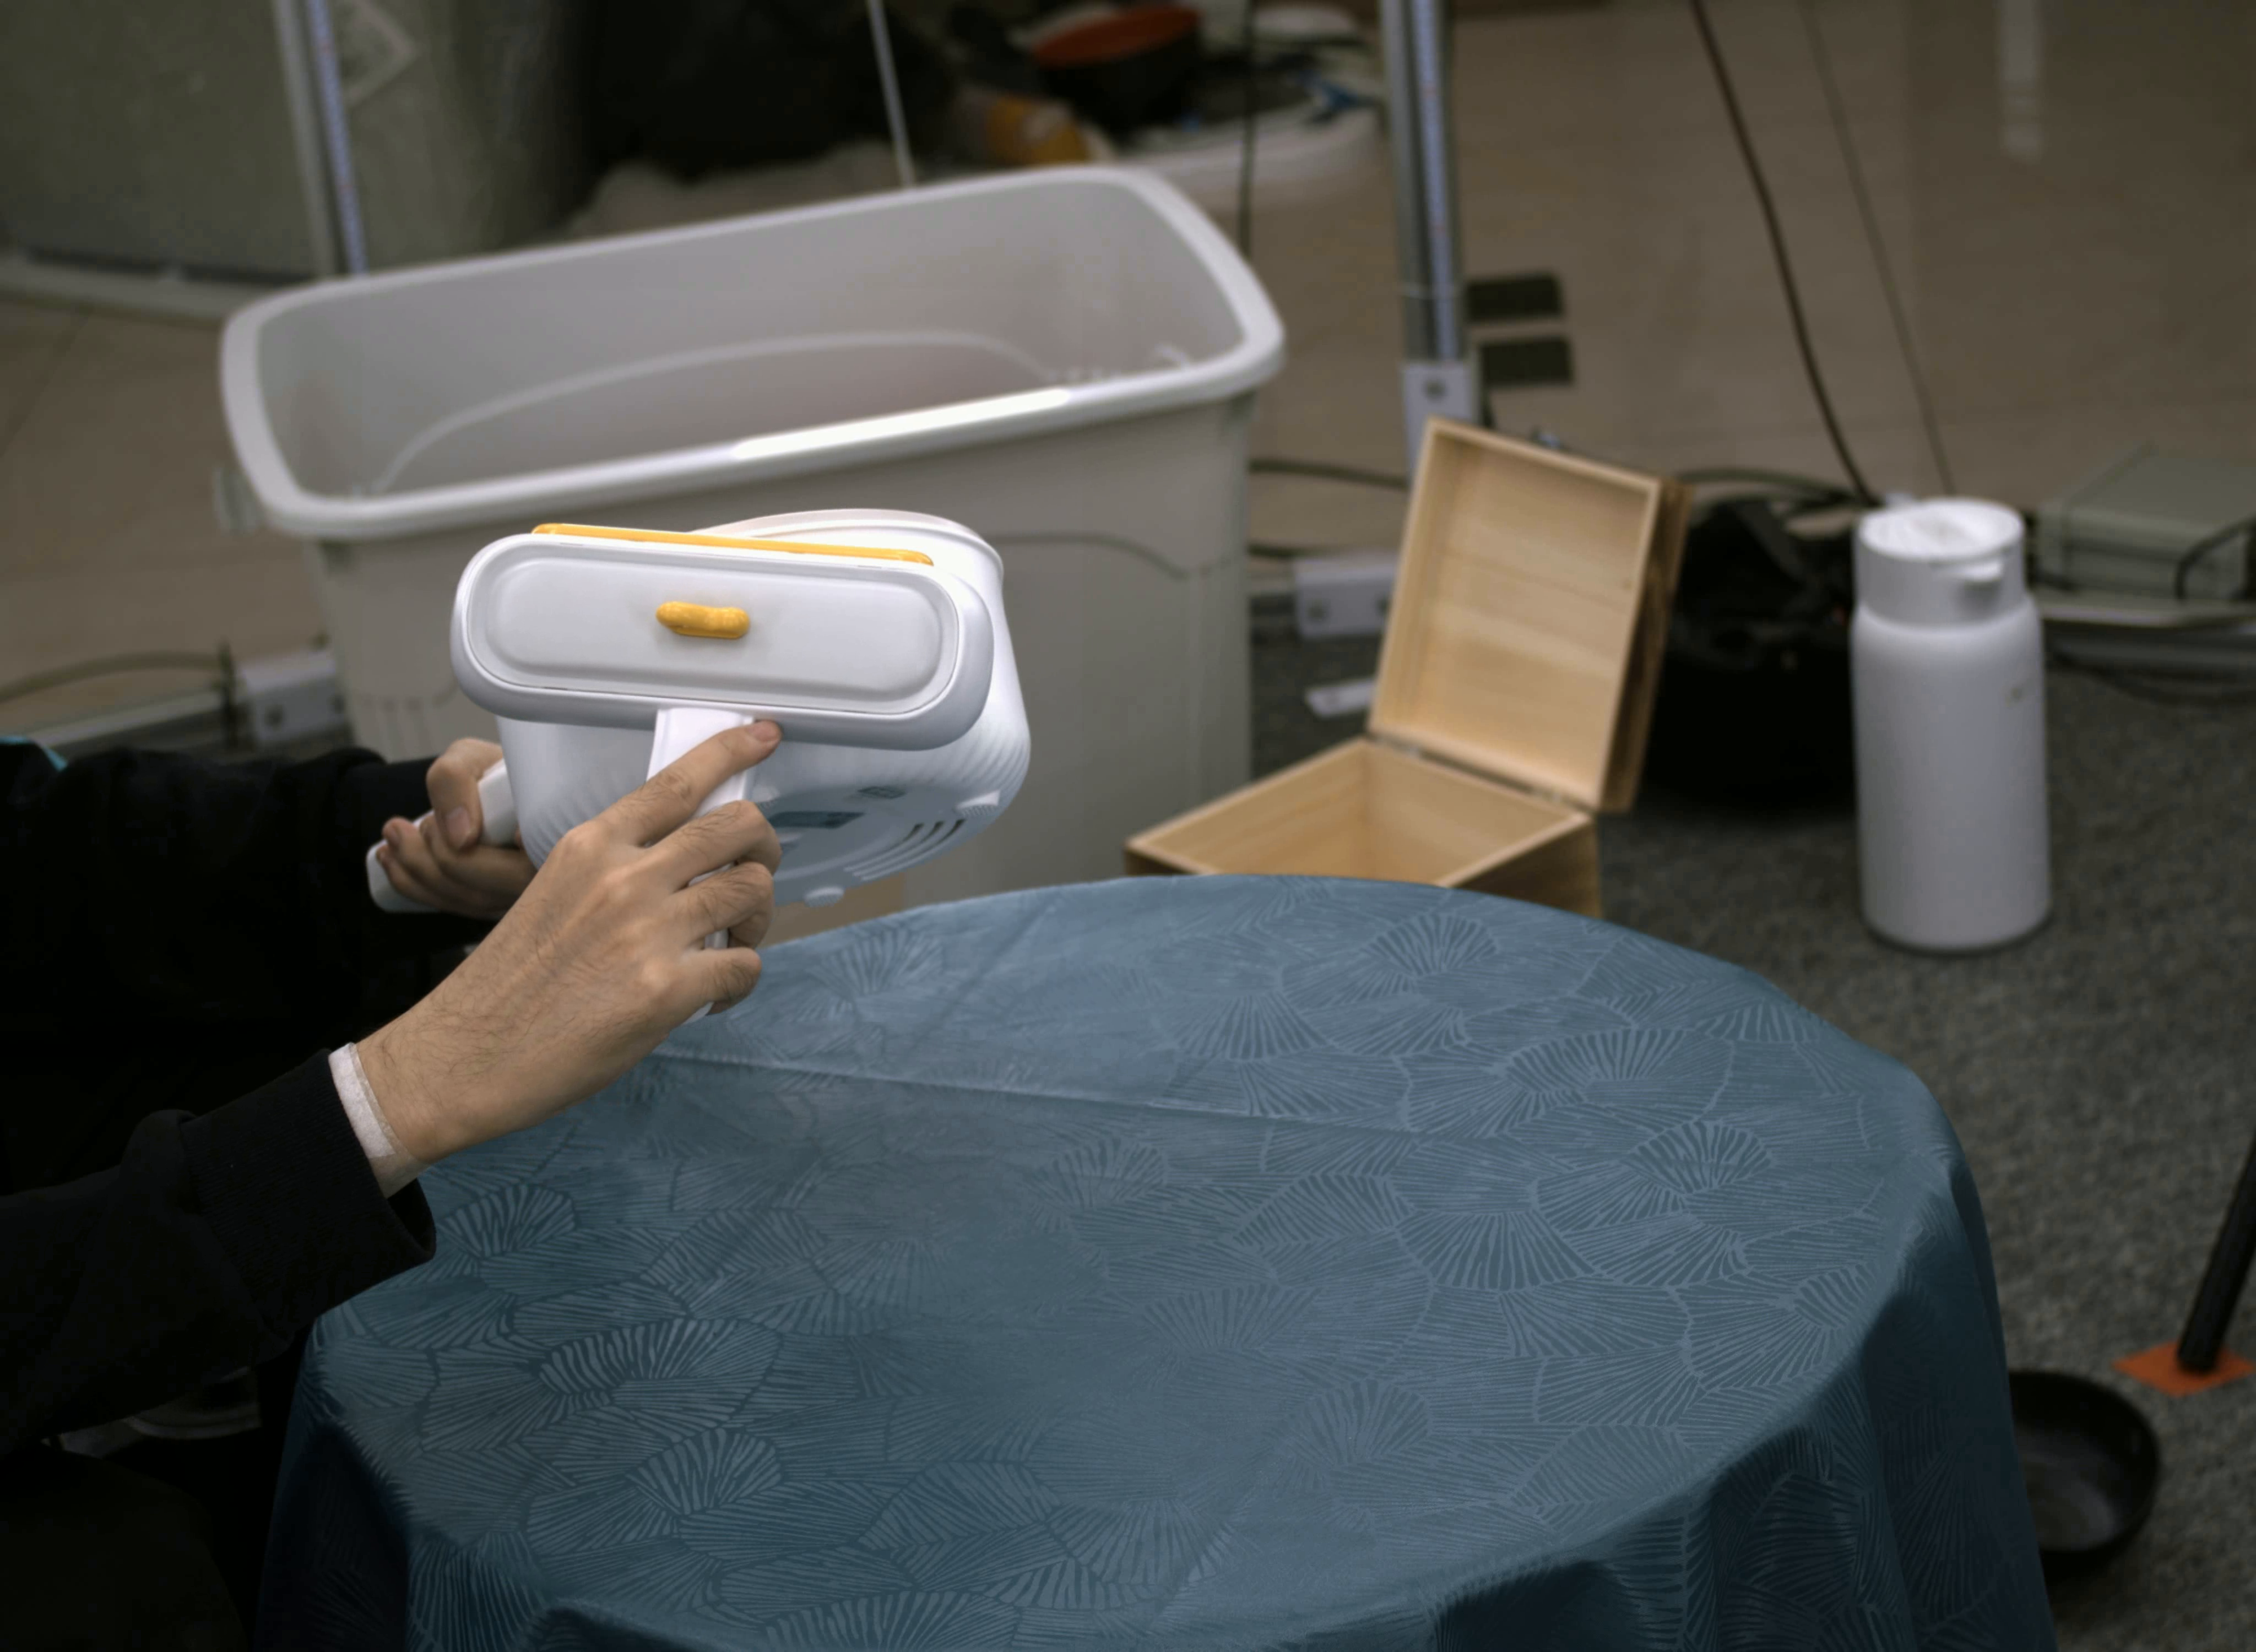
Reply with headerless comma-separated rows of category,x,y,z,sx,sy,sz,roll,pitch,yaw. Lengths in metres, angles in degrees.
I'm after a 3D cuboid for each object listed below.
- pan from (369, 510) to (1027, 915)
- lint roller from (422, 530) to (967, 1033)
pan,-0.183,-0.009,2.175,0.201,0.101,0.357,0,-20,-40
lint roller,-0.154,-0.014,1.973,0.192,0.190,0.075,3,-18,-2
